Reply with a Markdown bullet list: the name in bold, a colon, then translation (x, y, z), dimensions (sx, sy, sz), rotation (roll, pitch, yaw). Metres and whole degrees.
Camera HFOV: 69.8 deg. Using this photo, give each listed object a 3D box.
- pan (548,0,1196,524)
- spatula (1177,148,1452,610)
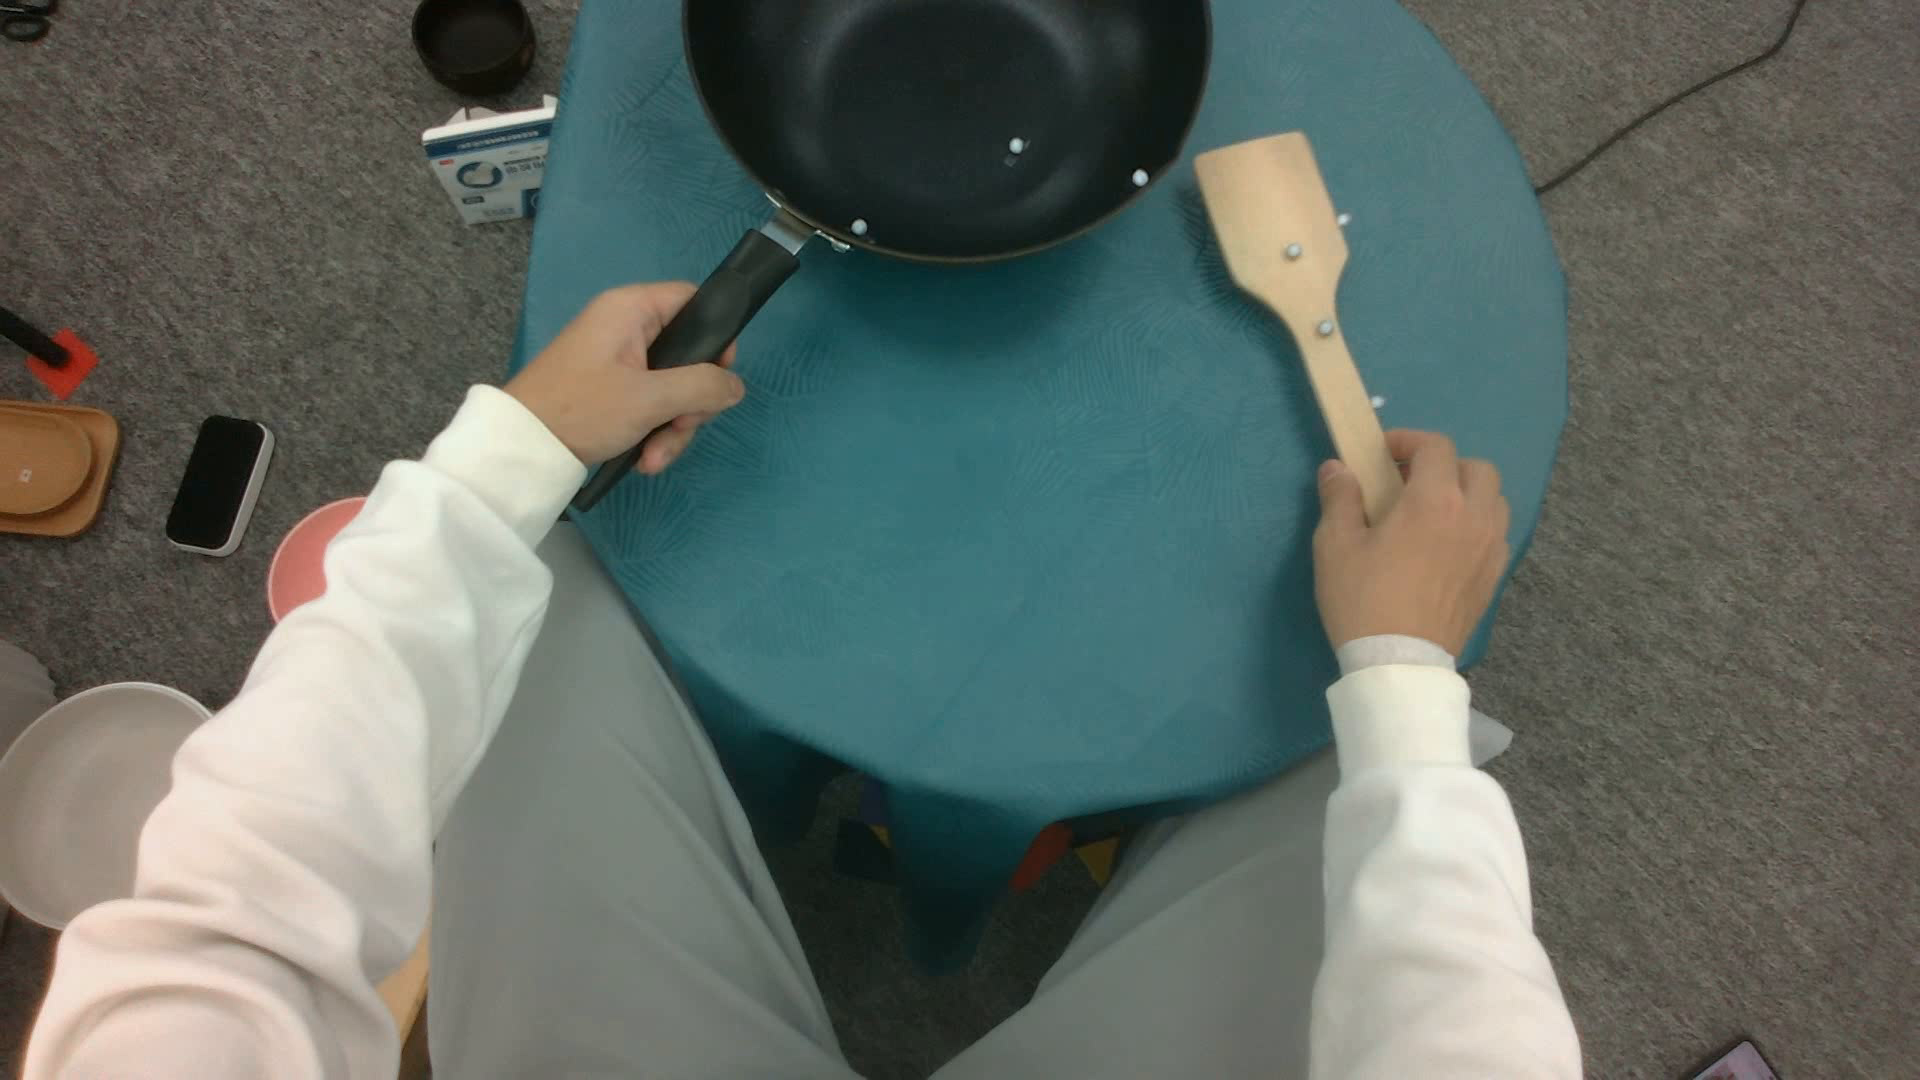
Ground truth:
- **pan**: translation (-0.062, -0.189, 0.766), dimensions (0.288, 0.086, 0.464), rotation (32, 78, 8)
- **spatula**: translation (0.206, -0.095, 0.776), dimensions (0.072, 0.010, 0.293), rotation (-17, 71, -8)
